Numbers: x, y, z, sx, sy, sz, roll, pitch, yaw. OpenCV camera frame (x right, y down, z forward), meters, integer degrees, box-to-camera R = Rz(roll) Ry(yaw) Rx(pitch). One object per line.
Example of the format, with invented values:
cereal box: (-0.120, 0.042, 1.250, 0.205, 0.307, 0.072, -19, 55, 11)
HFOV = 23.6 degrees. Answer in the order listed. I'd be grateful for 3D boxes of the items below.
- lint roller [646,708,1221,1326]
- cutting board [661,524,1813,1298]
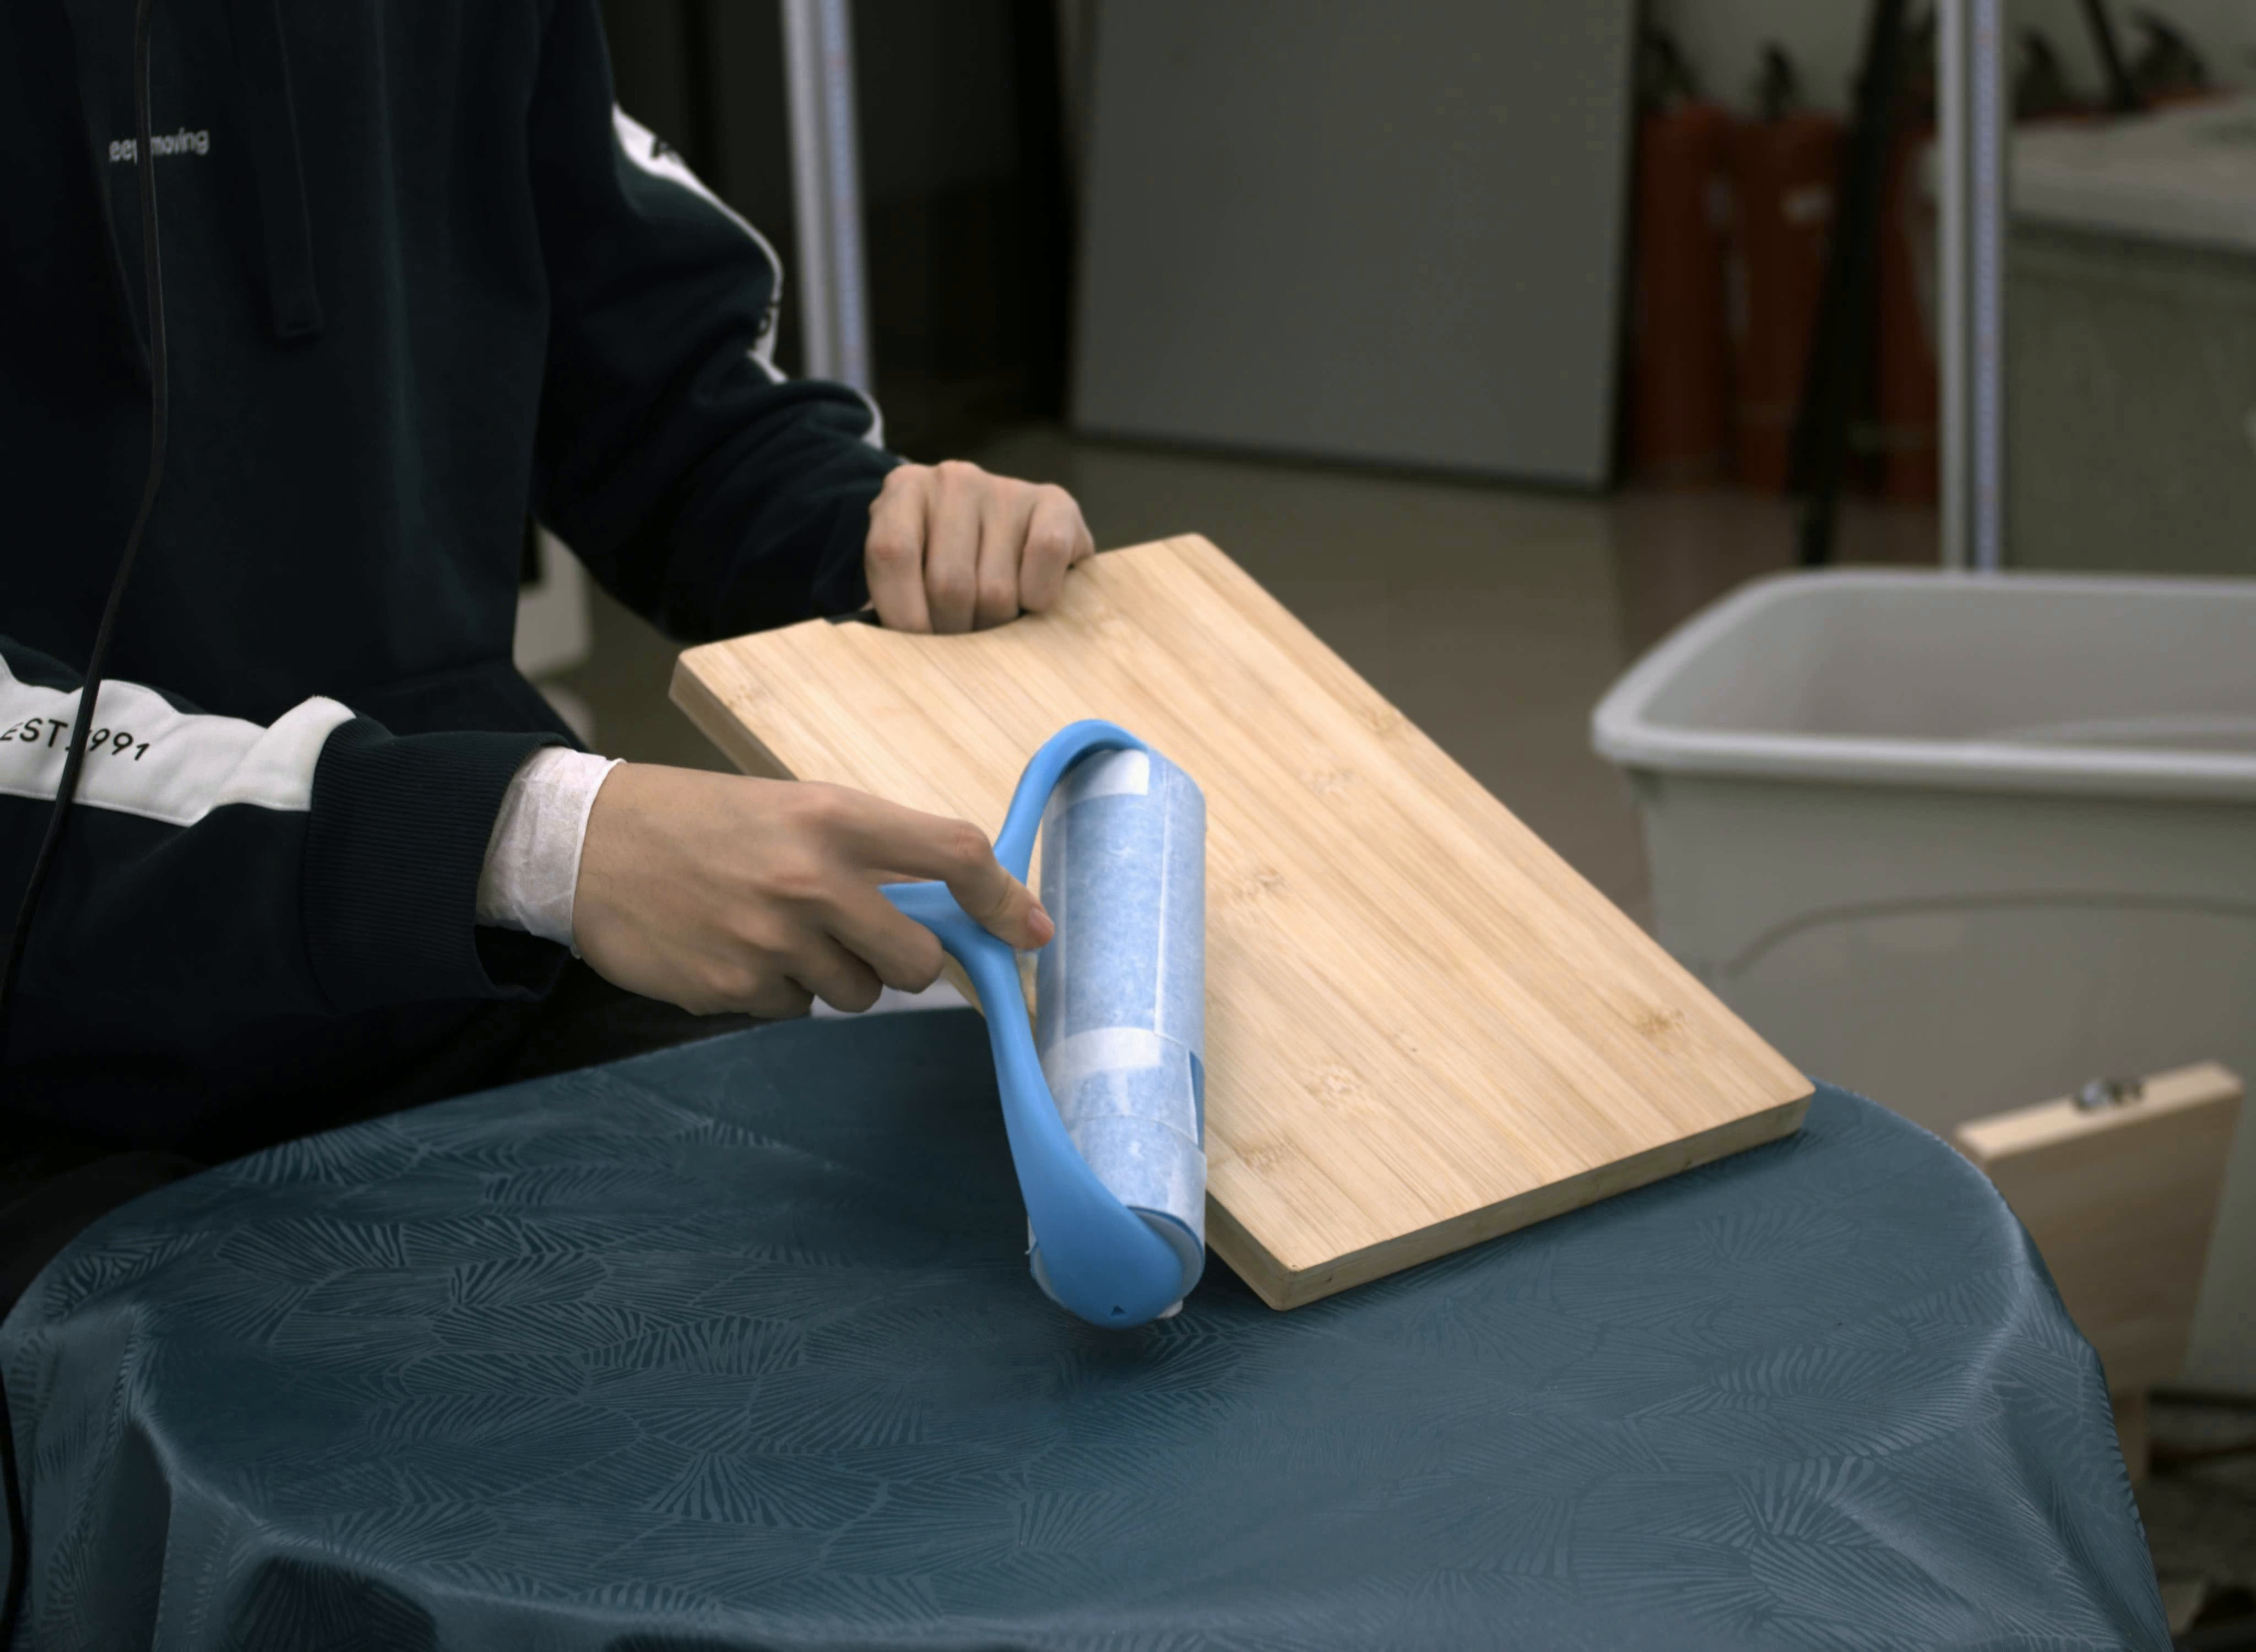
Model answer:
lint roller: (-0.054, 0.045, 1.654, 0.177, 0.068, 0.231, 14, 45, -16)
cutting board: (0.033, 0.019, 1.812, 0.245, 0.024, 0.352, -15, 45, -38)
